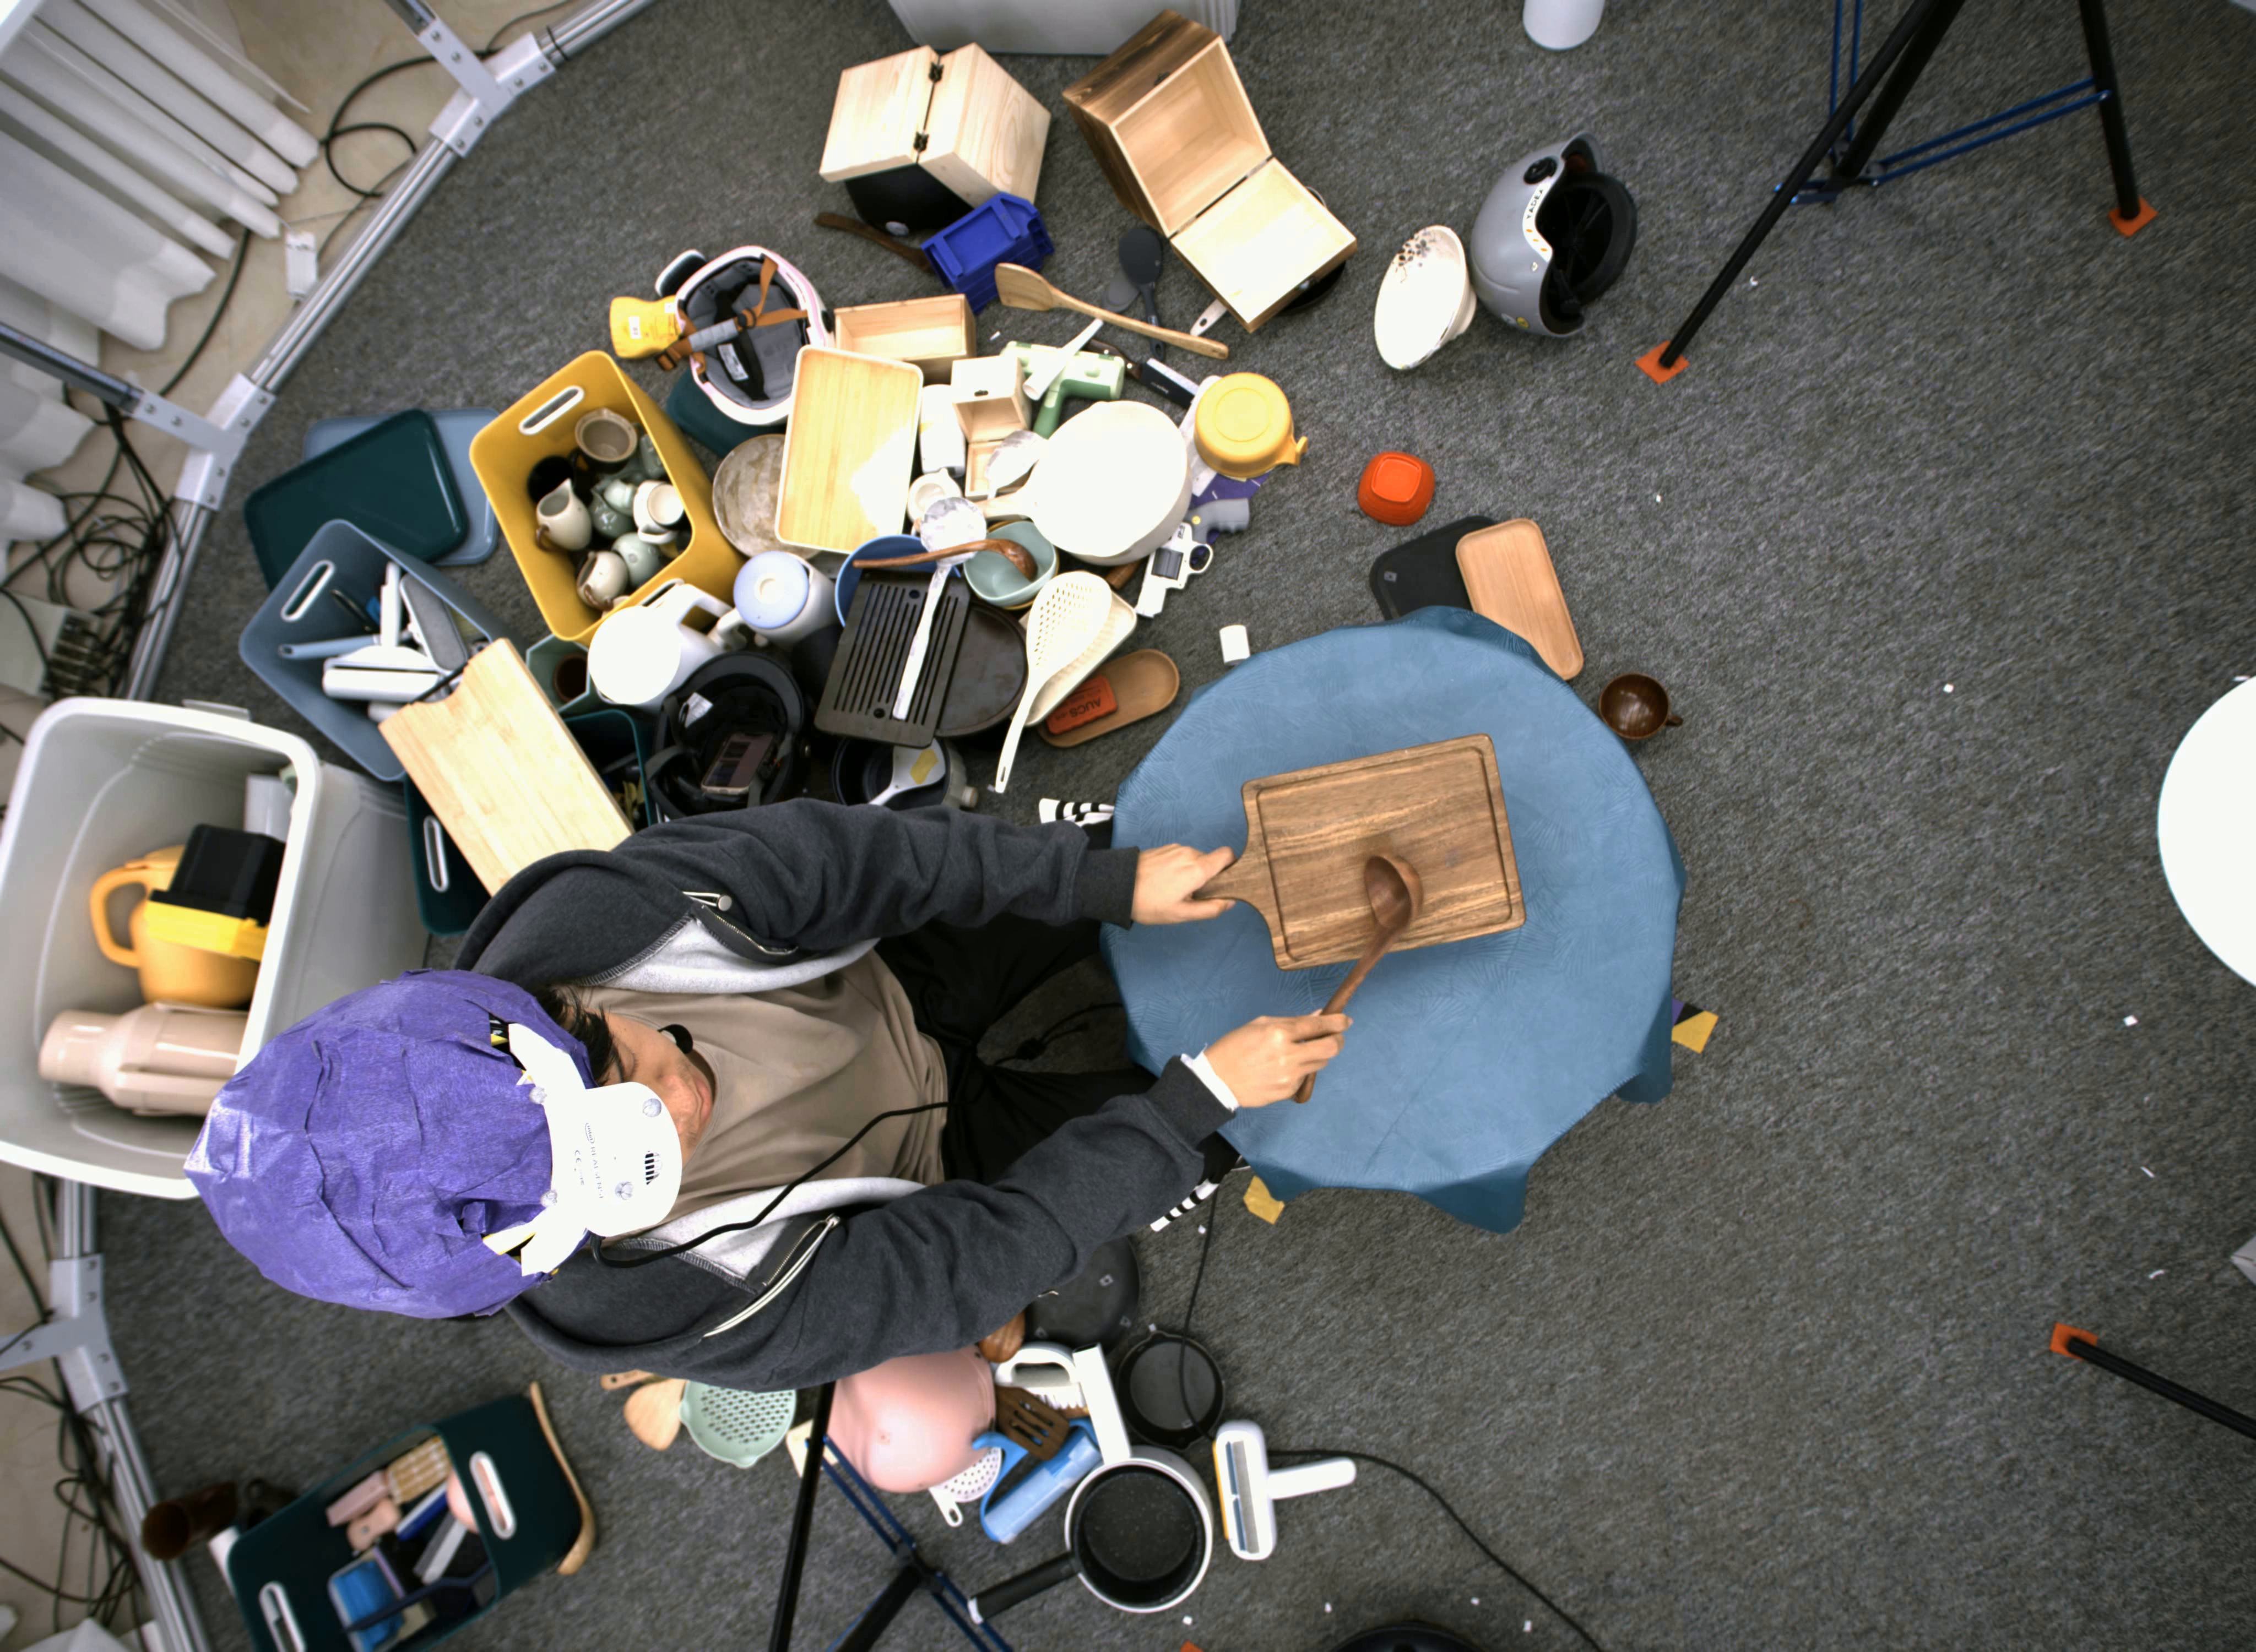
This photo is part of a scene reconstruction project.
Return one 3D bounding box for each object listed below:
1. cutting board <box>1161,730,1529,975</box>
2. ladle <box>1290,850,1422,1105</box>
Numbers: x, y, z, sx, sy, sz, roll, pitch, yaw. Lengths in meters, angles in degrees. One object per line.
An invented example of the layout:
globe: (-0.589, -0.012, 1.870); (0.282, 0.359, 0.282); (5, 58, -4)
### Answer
cutting board: (0.204, 0.036, 1.370); (0.354, 0.023, 0.201); (-12, 95, 9)
ladle: (0.204, 0.144, 1.320); (0.065, 0.076, 0.262); (24, 98, -29)
